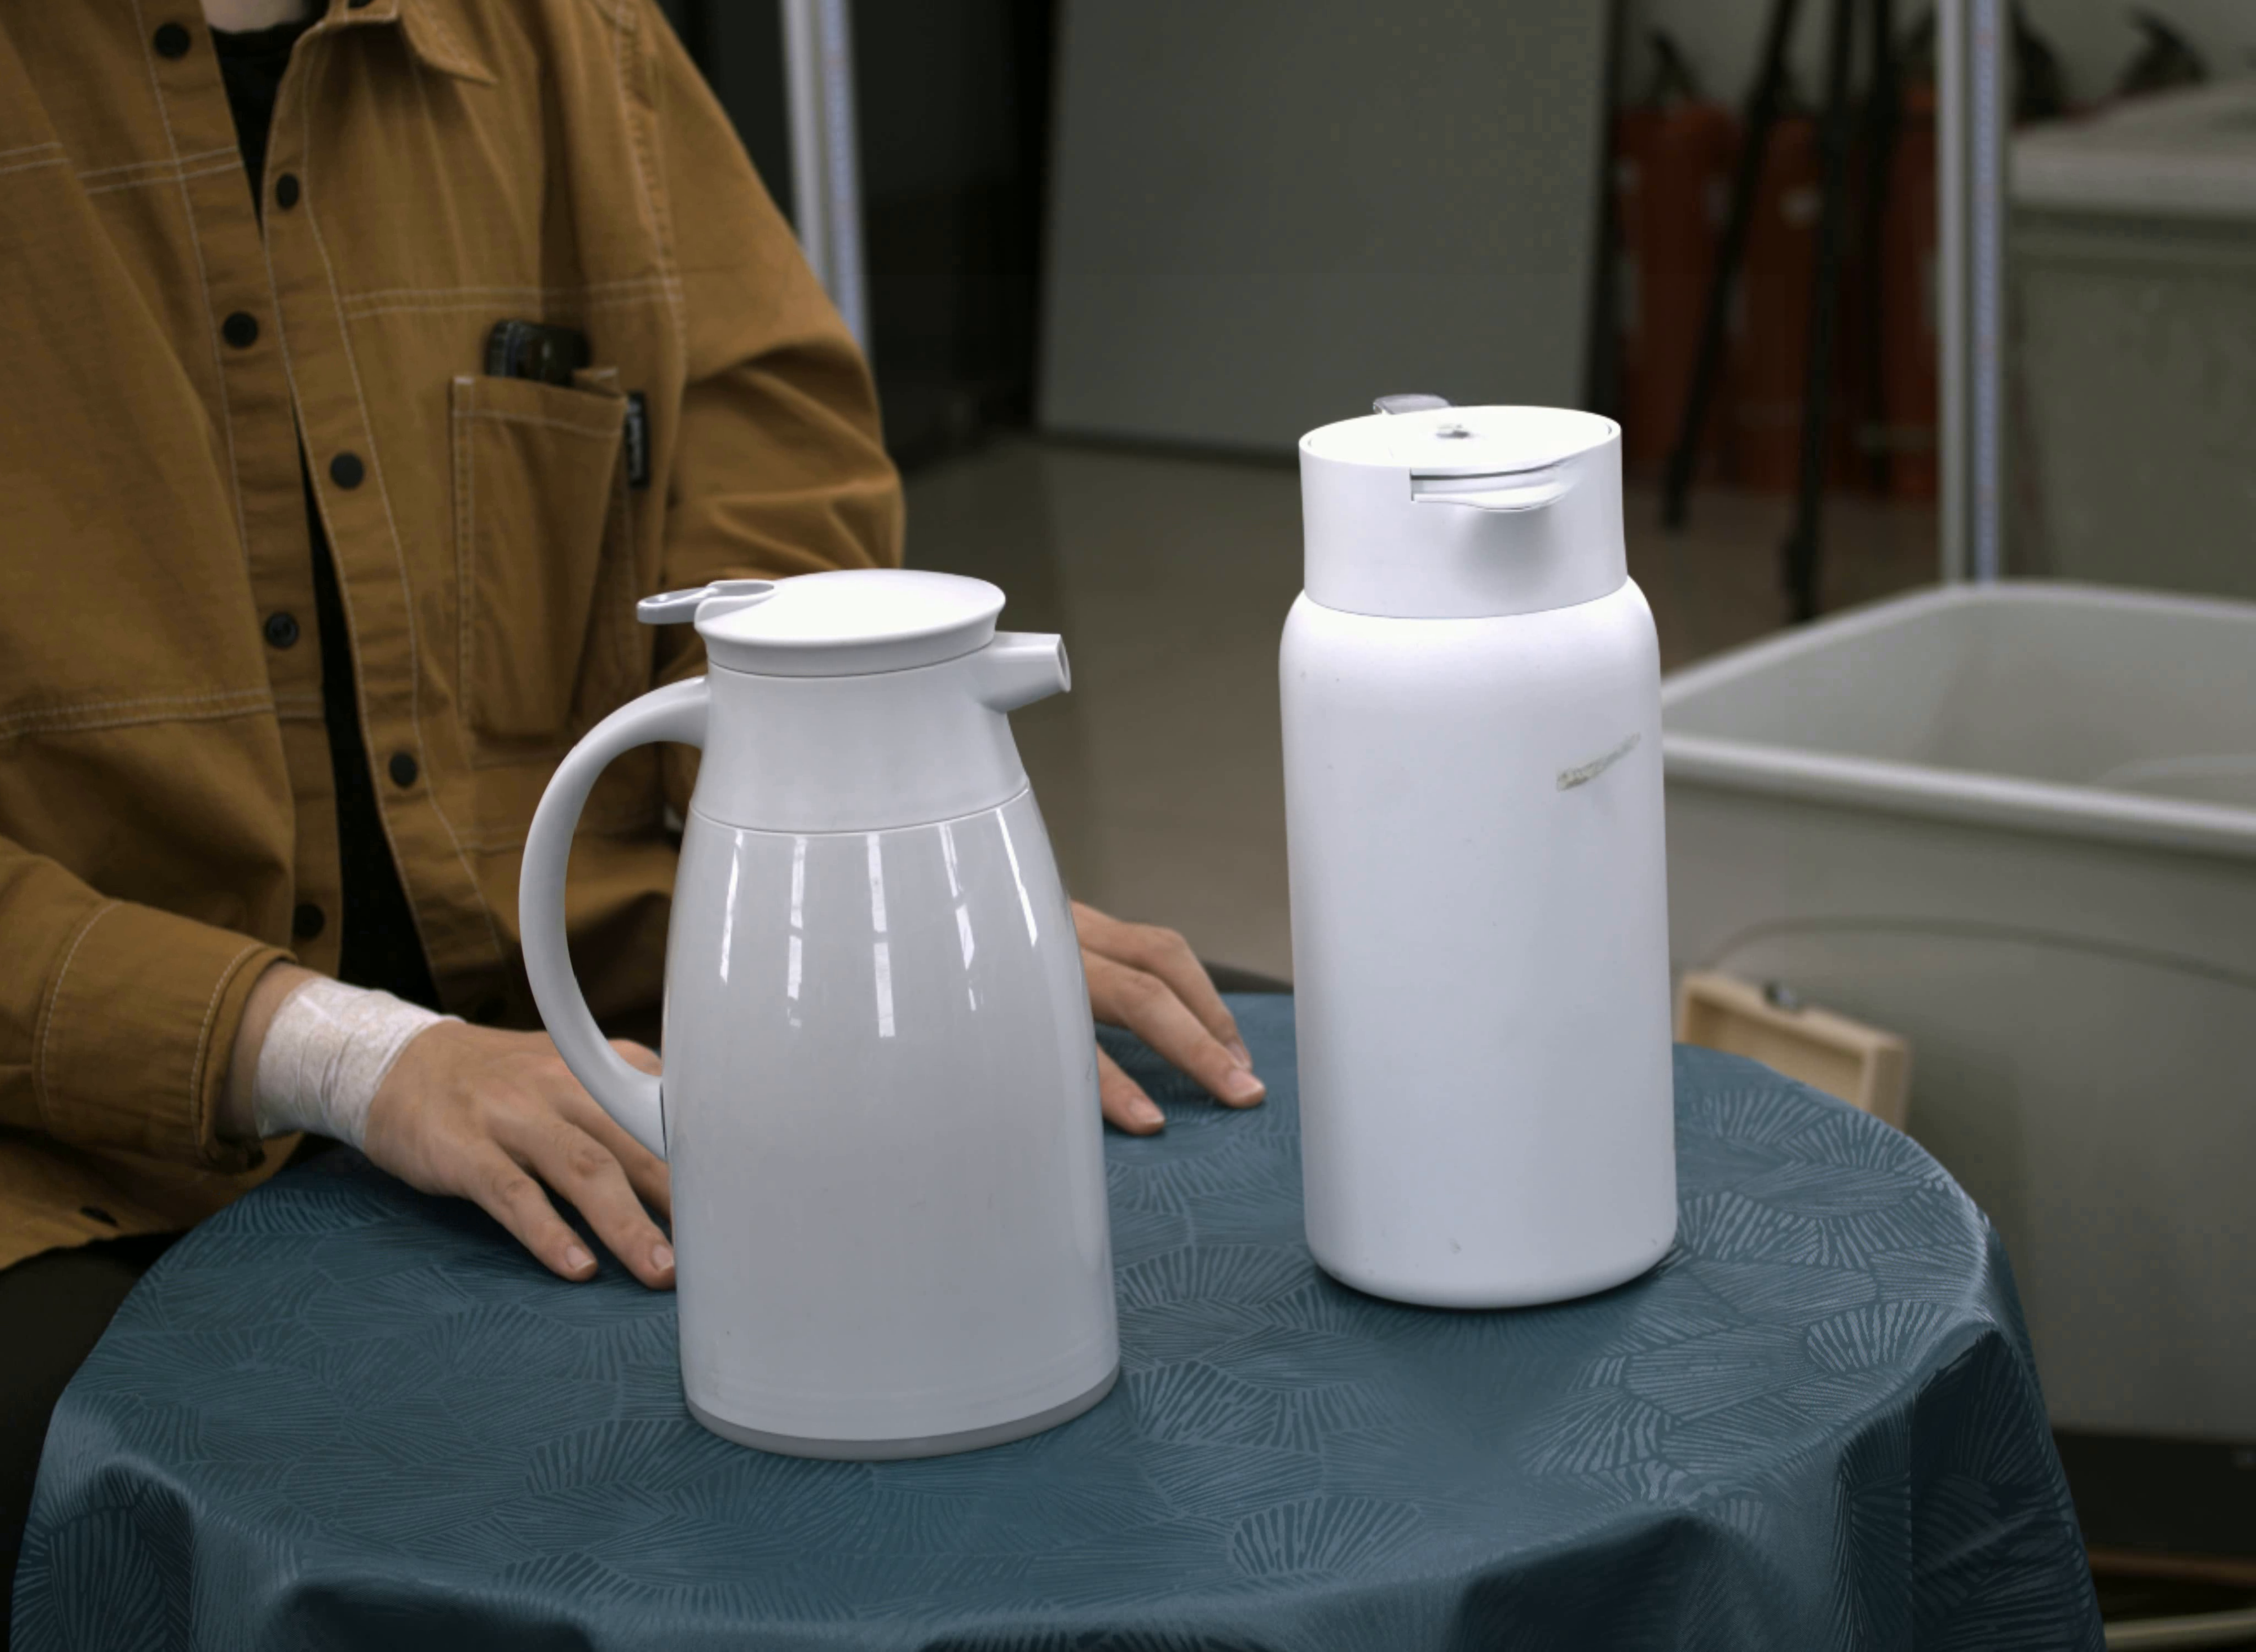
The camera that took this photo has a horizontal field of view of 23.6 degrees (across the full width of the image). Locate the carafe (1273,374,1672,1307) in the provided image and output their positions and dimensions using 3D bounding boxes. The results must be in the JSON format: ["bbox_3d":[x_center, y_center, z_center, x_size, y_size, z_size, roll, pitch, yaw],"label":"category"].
[{"bbox_3d":[0.100,0.001,1.669,0.121,0.272,0.174,-8,14,-10],"label":"carafe"}]

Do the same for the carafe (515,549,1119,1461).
[{"bbox_3d":[-0.094,0.047,1.582,0.166,0.251,0.132,-4,13,6],"label":"carafe"}]
